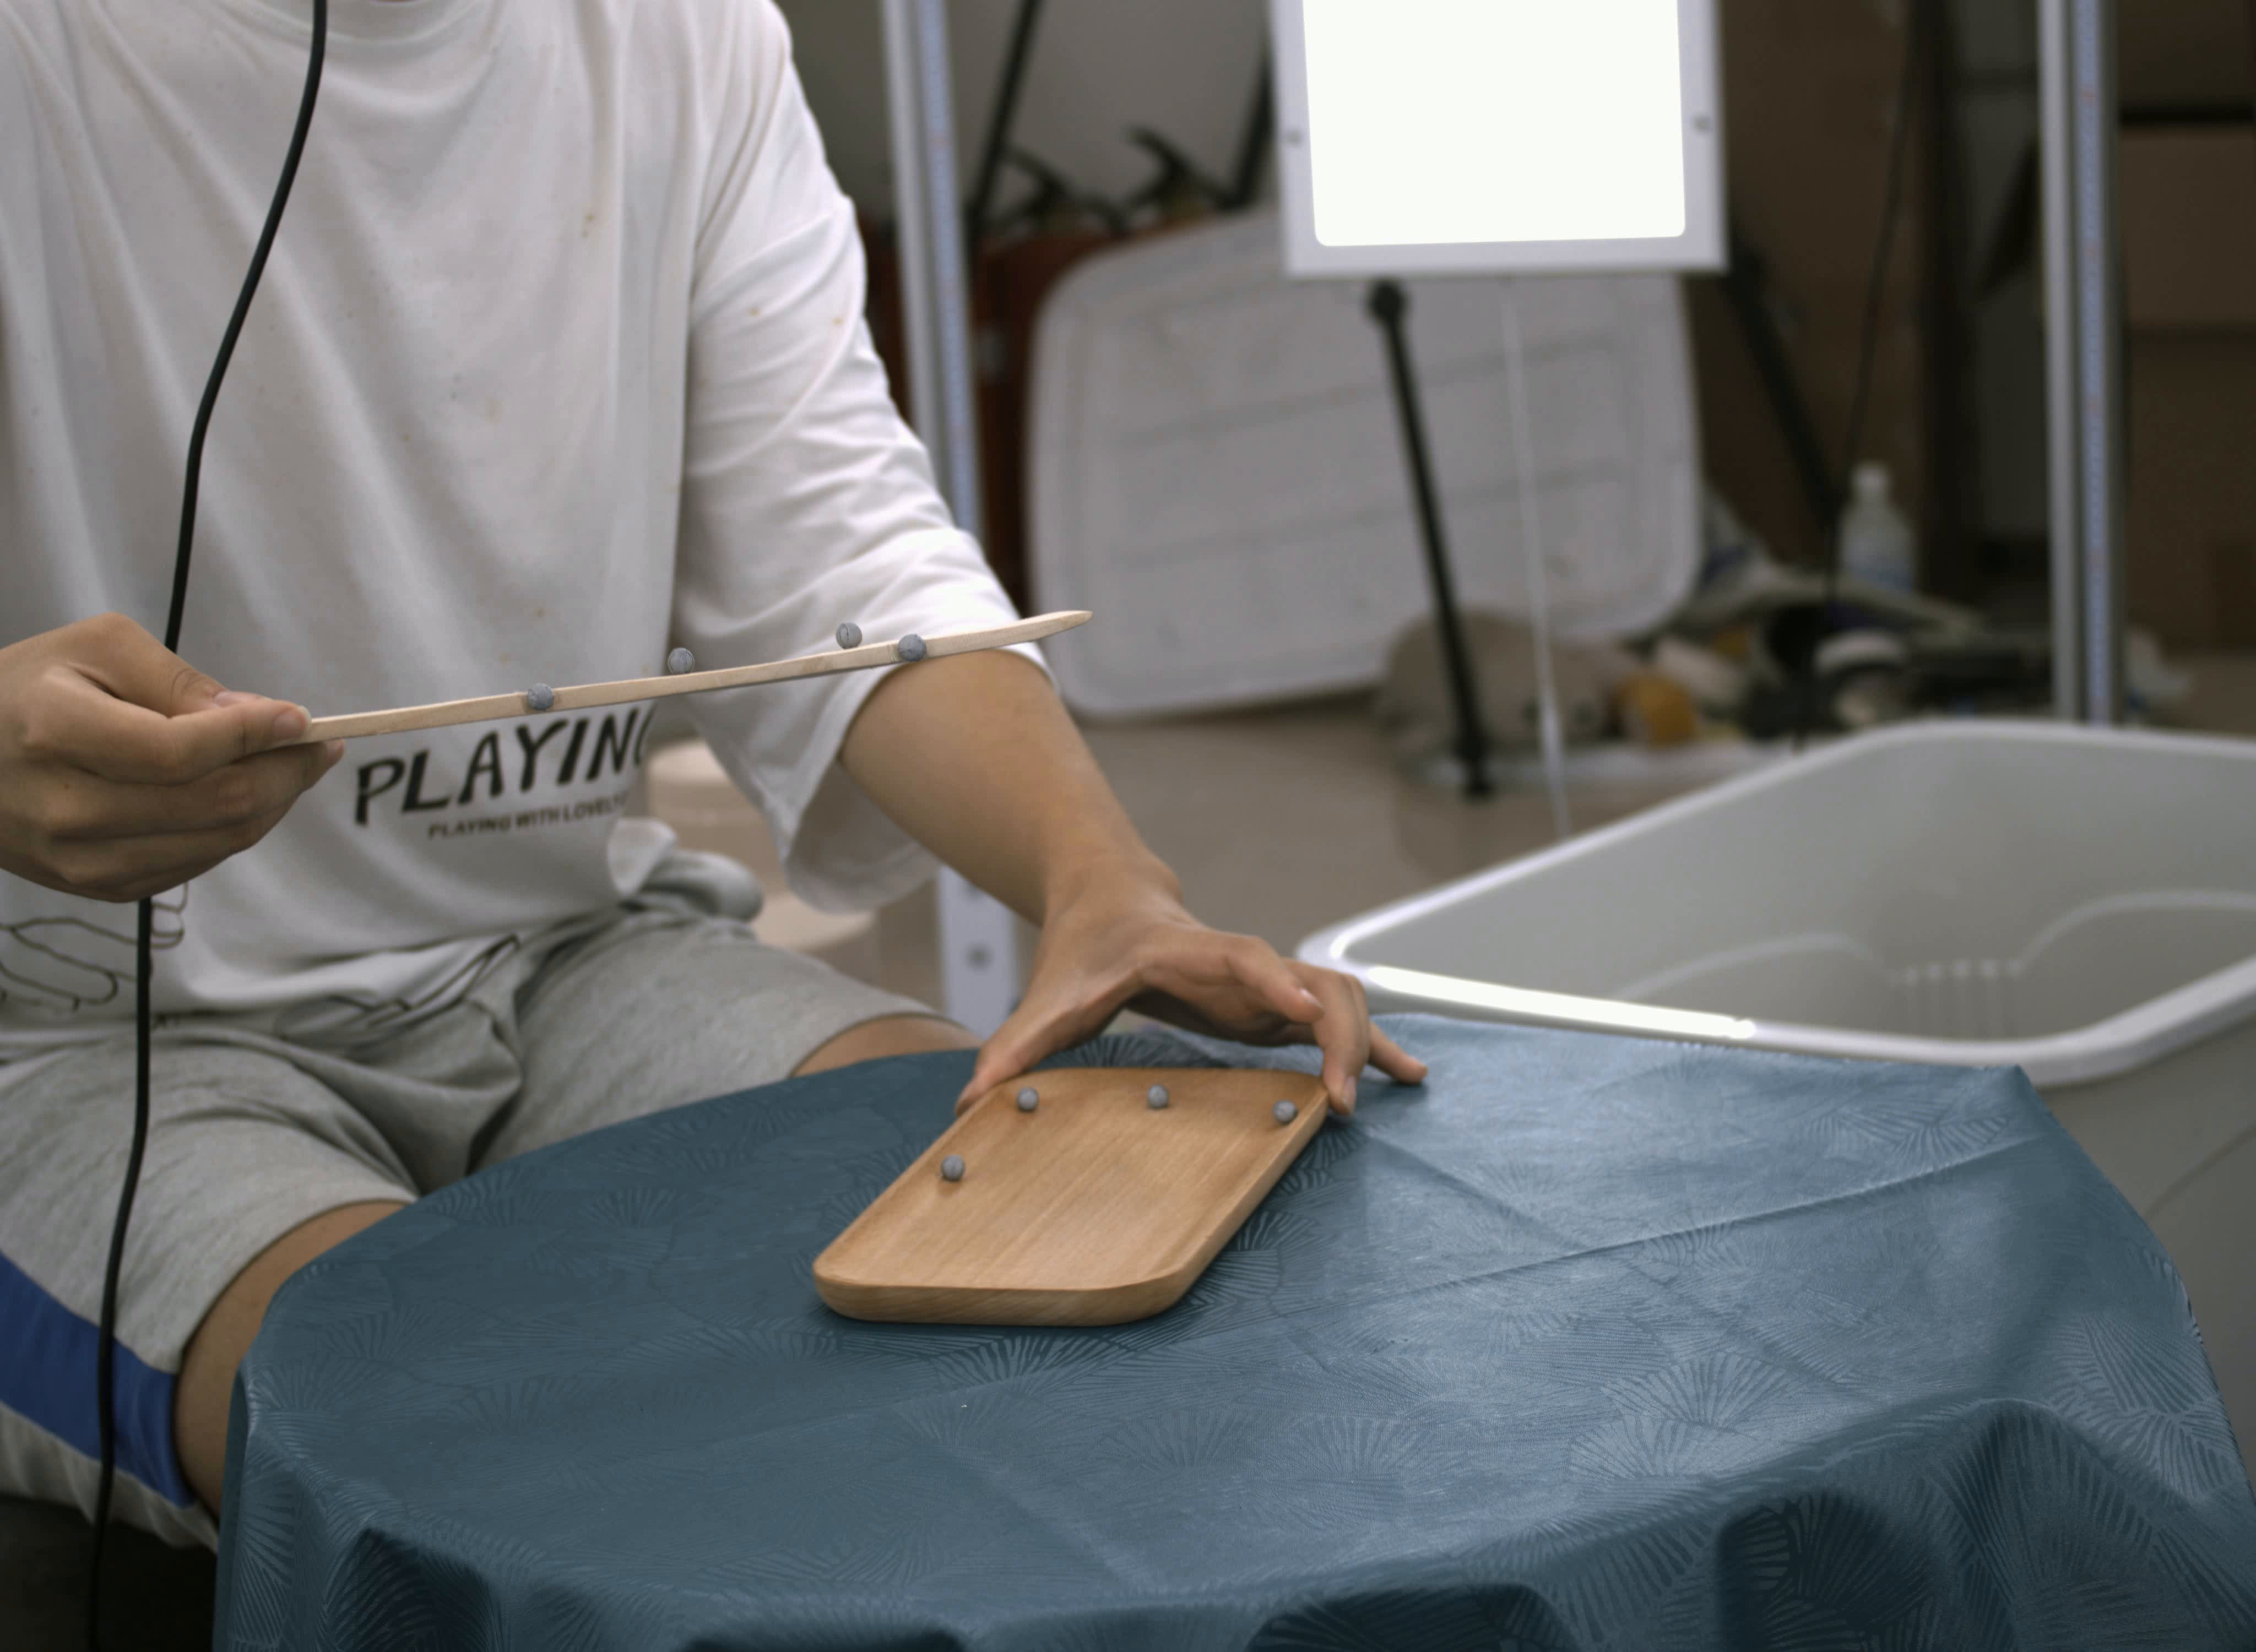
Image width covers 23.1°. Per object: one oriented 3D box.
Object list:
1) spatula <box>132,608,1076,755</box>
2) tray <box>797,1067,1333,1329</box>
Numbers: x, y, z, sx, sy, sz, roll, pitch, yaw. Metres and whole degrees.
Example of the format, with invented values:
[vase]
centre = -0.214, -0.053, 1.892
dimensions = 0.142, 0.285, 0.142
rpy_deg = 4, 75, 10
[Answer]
[spatula]
centre = -0.161, -0.044, 1.706
dimensions = 0.290, 0.011, 0.073
rpy_deg = -8, 3, -10
[tray]
centre = -0.017, 0.125, 1.882
dimensions = 0.132, 0.023, 0.246
rpy_deg = -3, 14, 20
